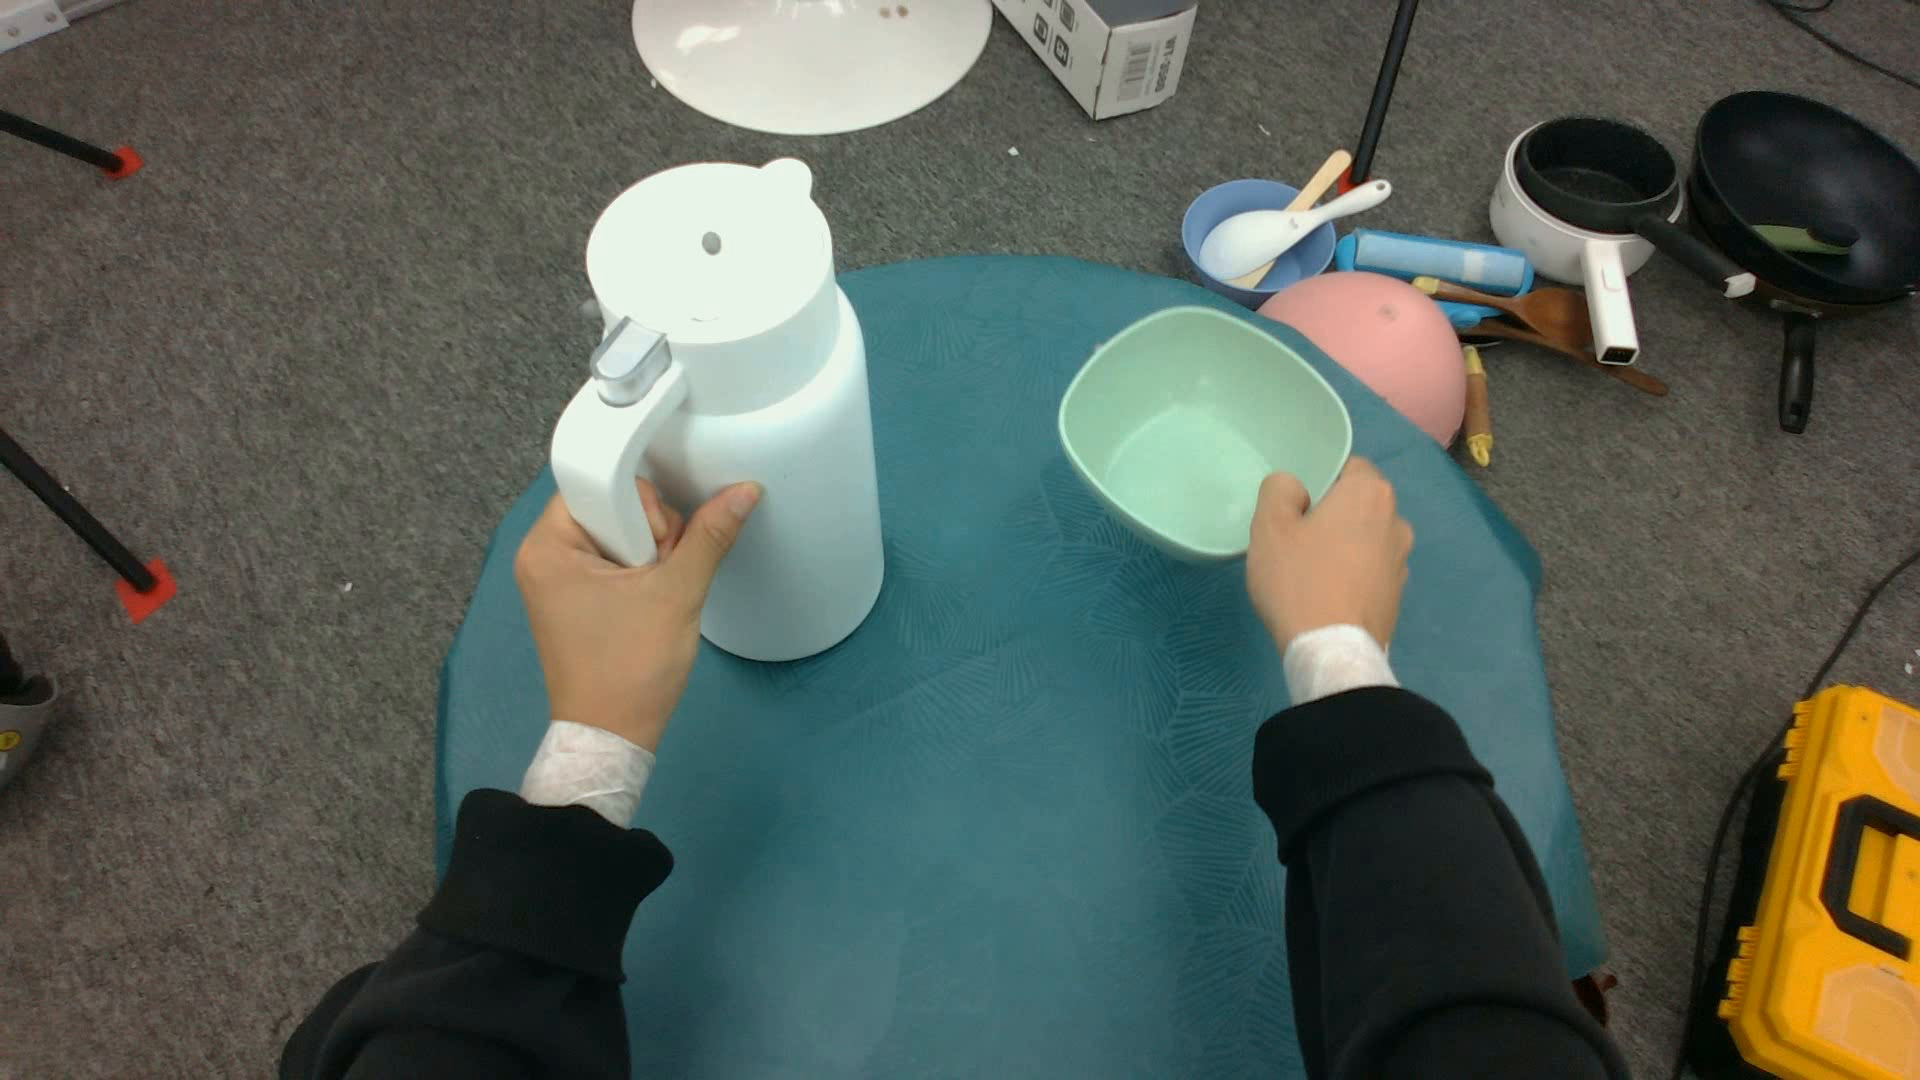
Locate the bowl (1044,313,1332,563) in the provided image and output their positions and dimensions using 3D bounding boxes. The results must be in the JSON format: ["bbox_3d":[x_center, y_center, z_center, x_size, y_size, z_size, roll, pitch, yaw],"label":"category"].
[{"bbox_3d":[0.118,-0.046,0.740,0.151,0.058,0.152,1,60,-2],"label":"bowl"}]

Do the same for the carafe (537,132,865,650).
[{"bbox_3d":[-0.117,-0.042,0.662,0.124,0.267,0.173,23,61,11],"label":"carafe"}]
